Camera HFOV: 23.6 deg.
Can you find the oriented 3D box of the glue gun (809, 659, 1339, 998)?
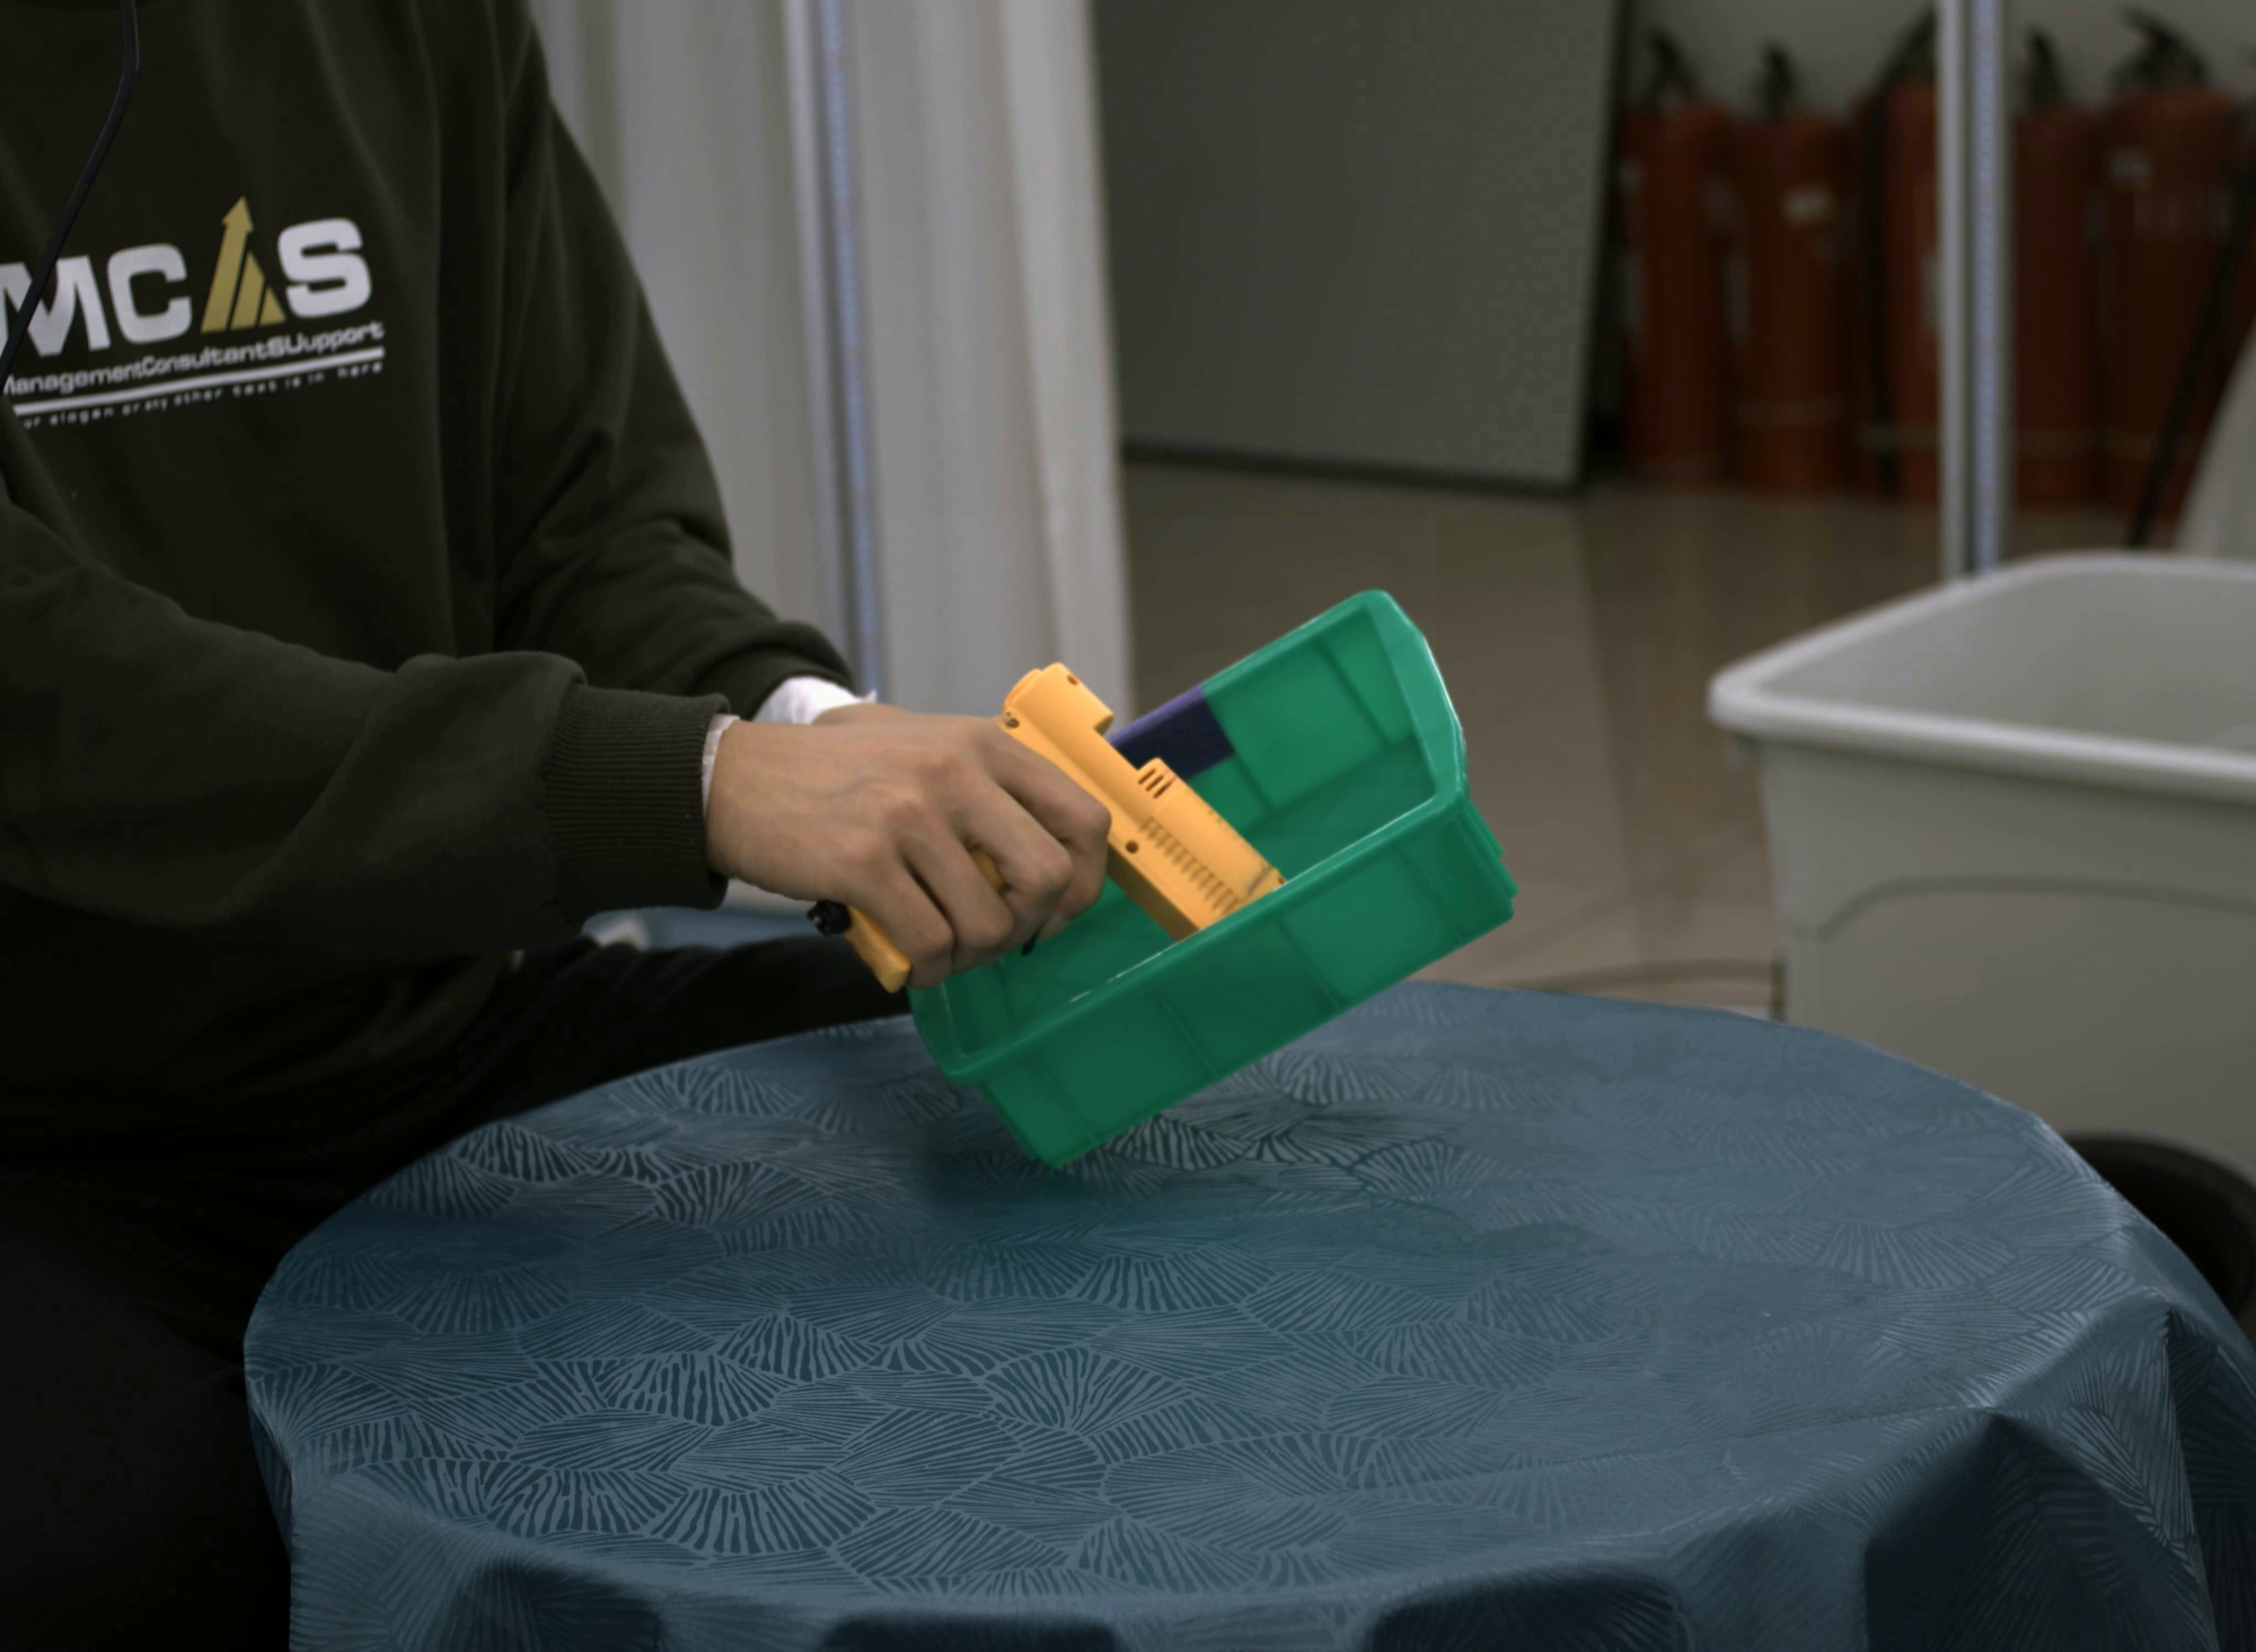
[{"bbox_3d":[-0.010,0.033,1.776,0.132,0.151,0.031,-47,-8,-30],"label":"glue gun"}]

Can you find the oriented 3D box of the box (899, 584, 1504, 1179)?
[{"bbox_3d":[0.026,0.022,1.824,0.210,0.065,0.140,-33,31,10],"label":"box"}]
